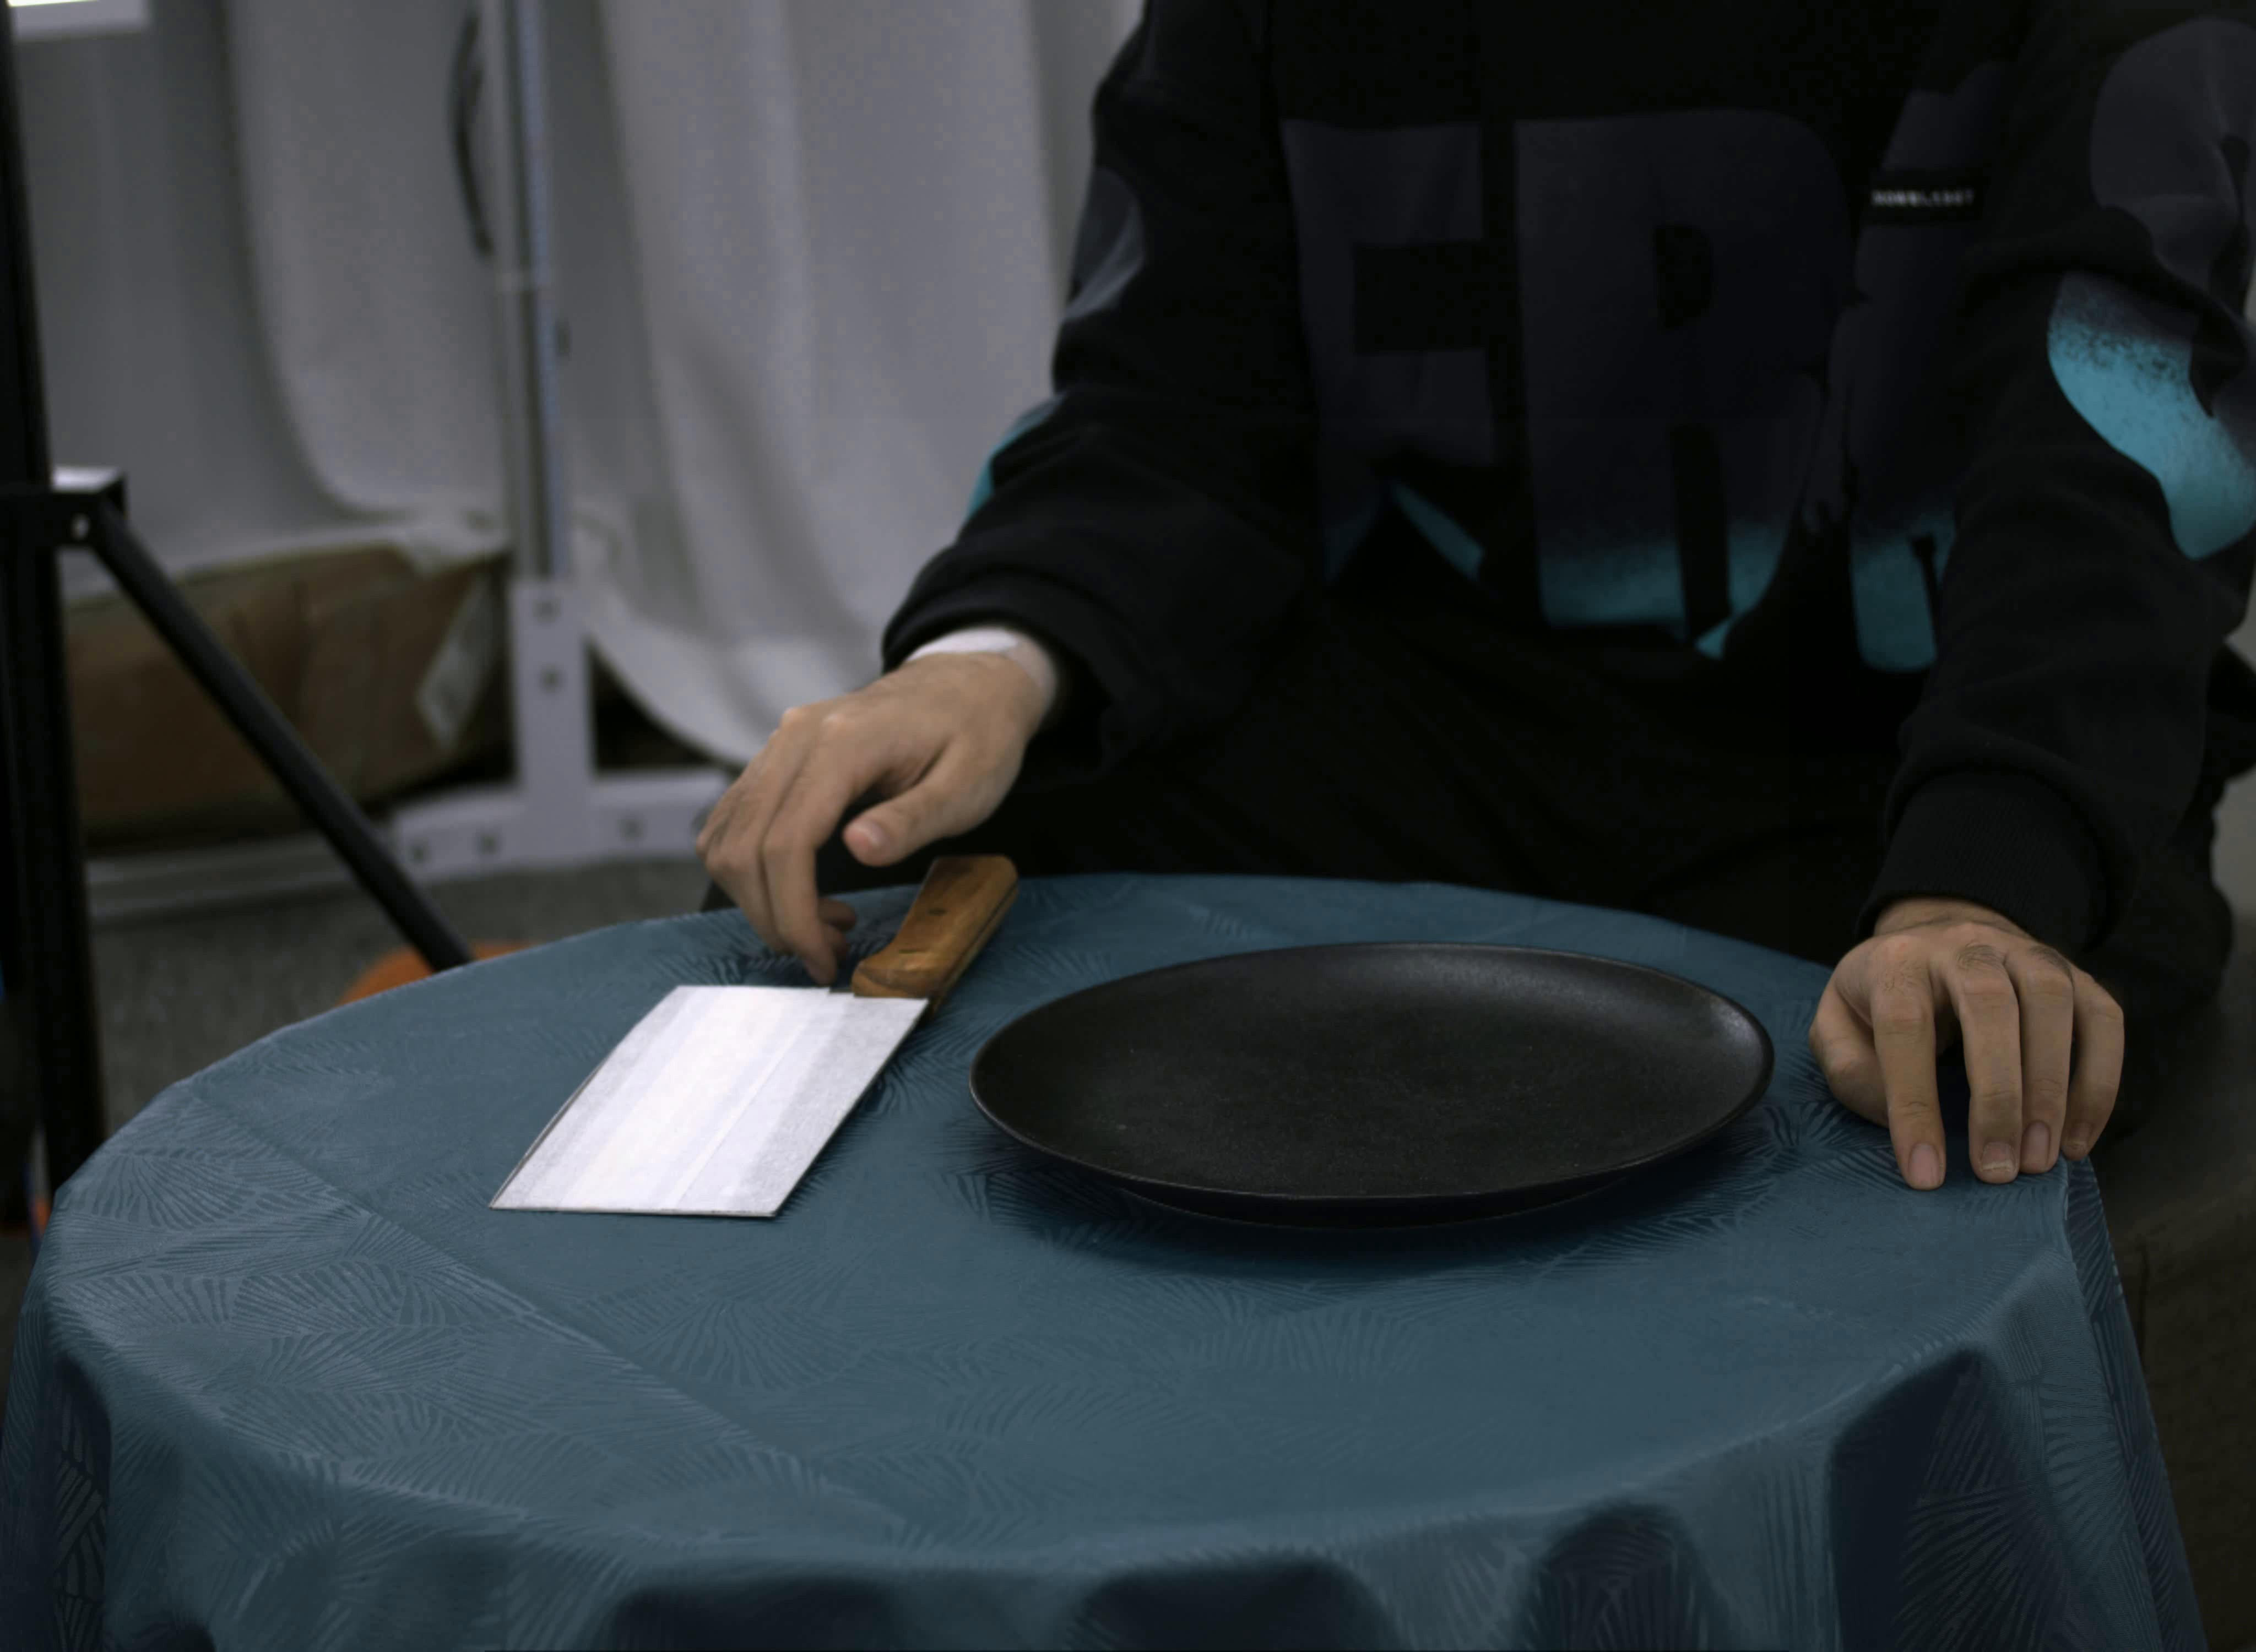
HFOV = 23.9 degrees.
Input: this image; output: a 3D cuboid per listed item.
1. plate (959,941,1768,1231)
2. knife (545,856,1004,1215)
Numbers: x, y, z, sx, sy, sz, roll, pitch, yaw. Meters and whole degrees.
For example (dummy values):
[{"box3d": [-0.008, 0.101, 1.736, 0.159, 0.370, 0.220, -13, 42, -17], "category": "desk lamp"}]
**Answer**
[{"box3d": [0.071, 0.081, 1.598, 0.243, 0.023, 0.245, -3, 16, -1], "category": "plate"}, {"box3d": [-0.111, 0.065, 1.700, 0.093, 0.021, 0.304, 0, 18, 14], "category": "knife"}]
